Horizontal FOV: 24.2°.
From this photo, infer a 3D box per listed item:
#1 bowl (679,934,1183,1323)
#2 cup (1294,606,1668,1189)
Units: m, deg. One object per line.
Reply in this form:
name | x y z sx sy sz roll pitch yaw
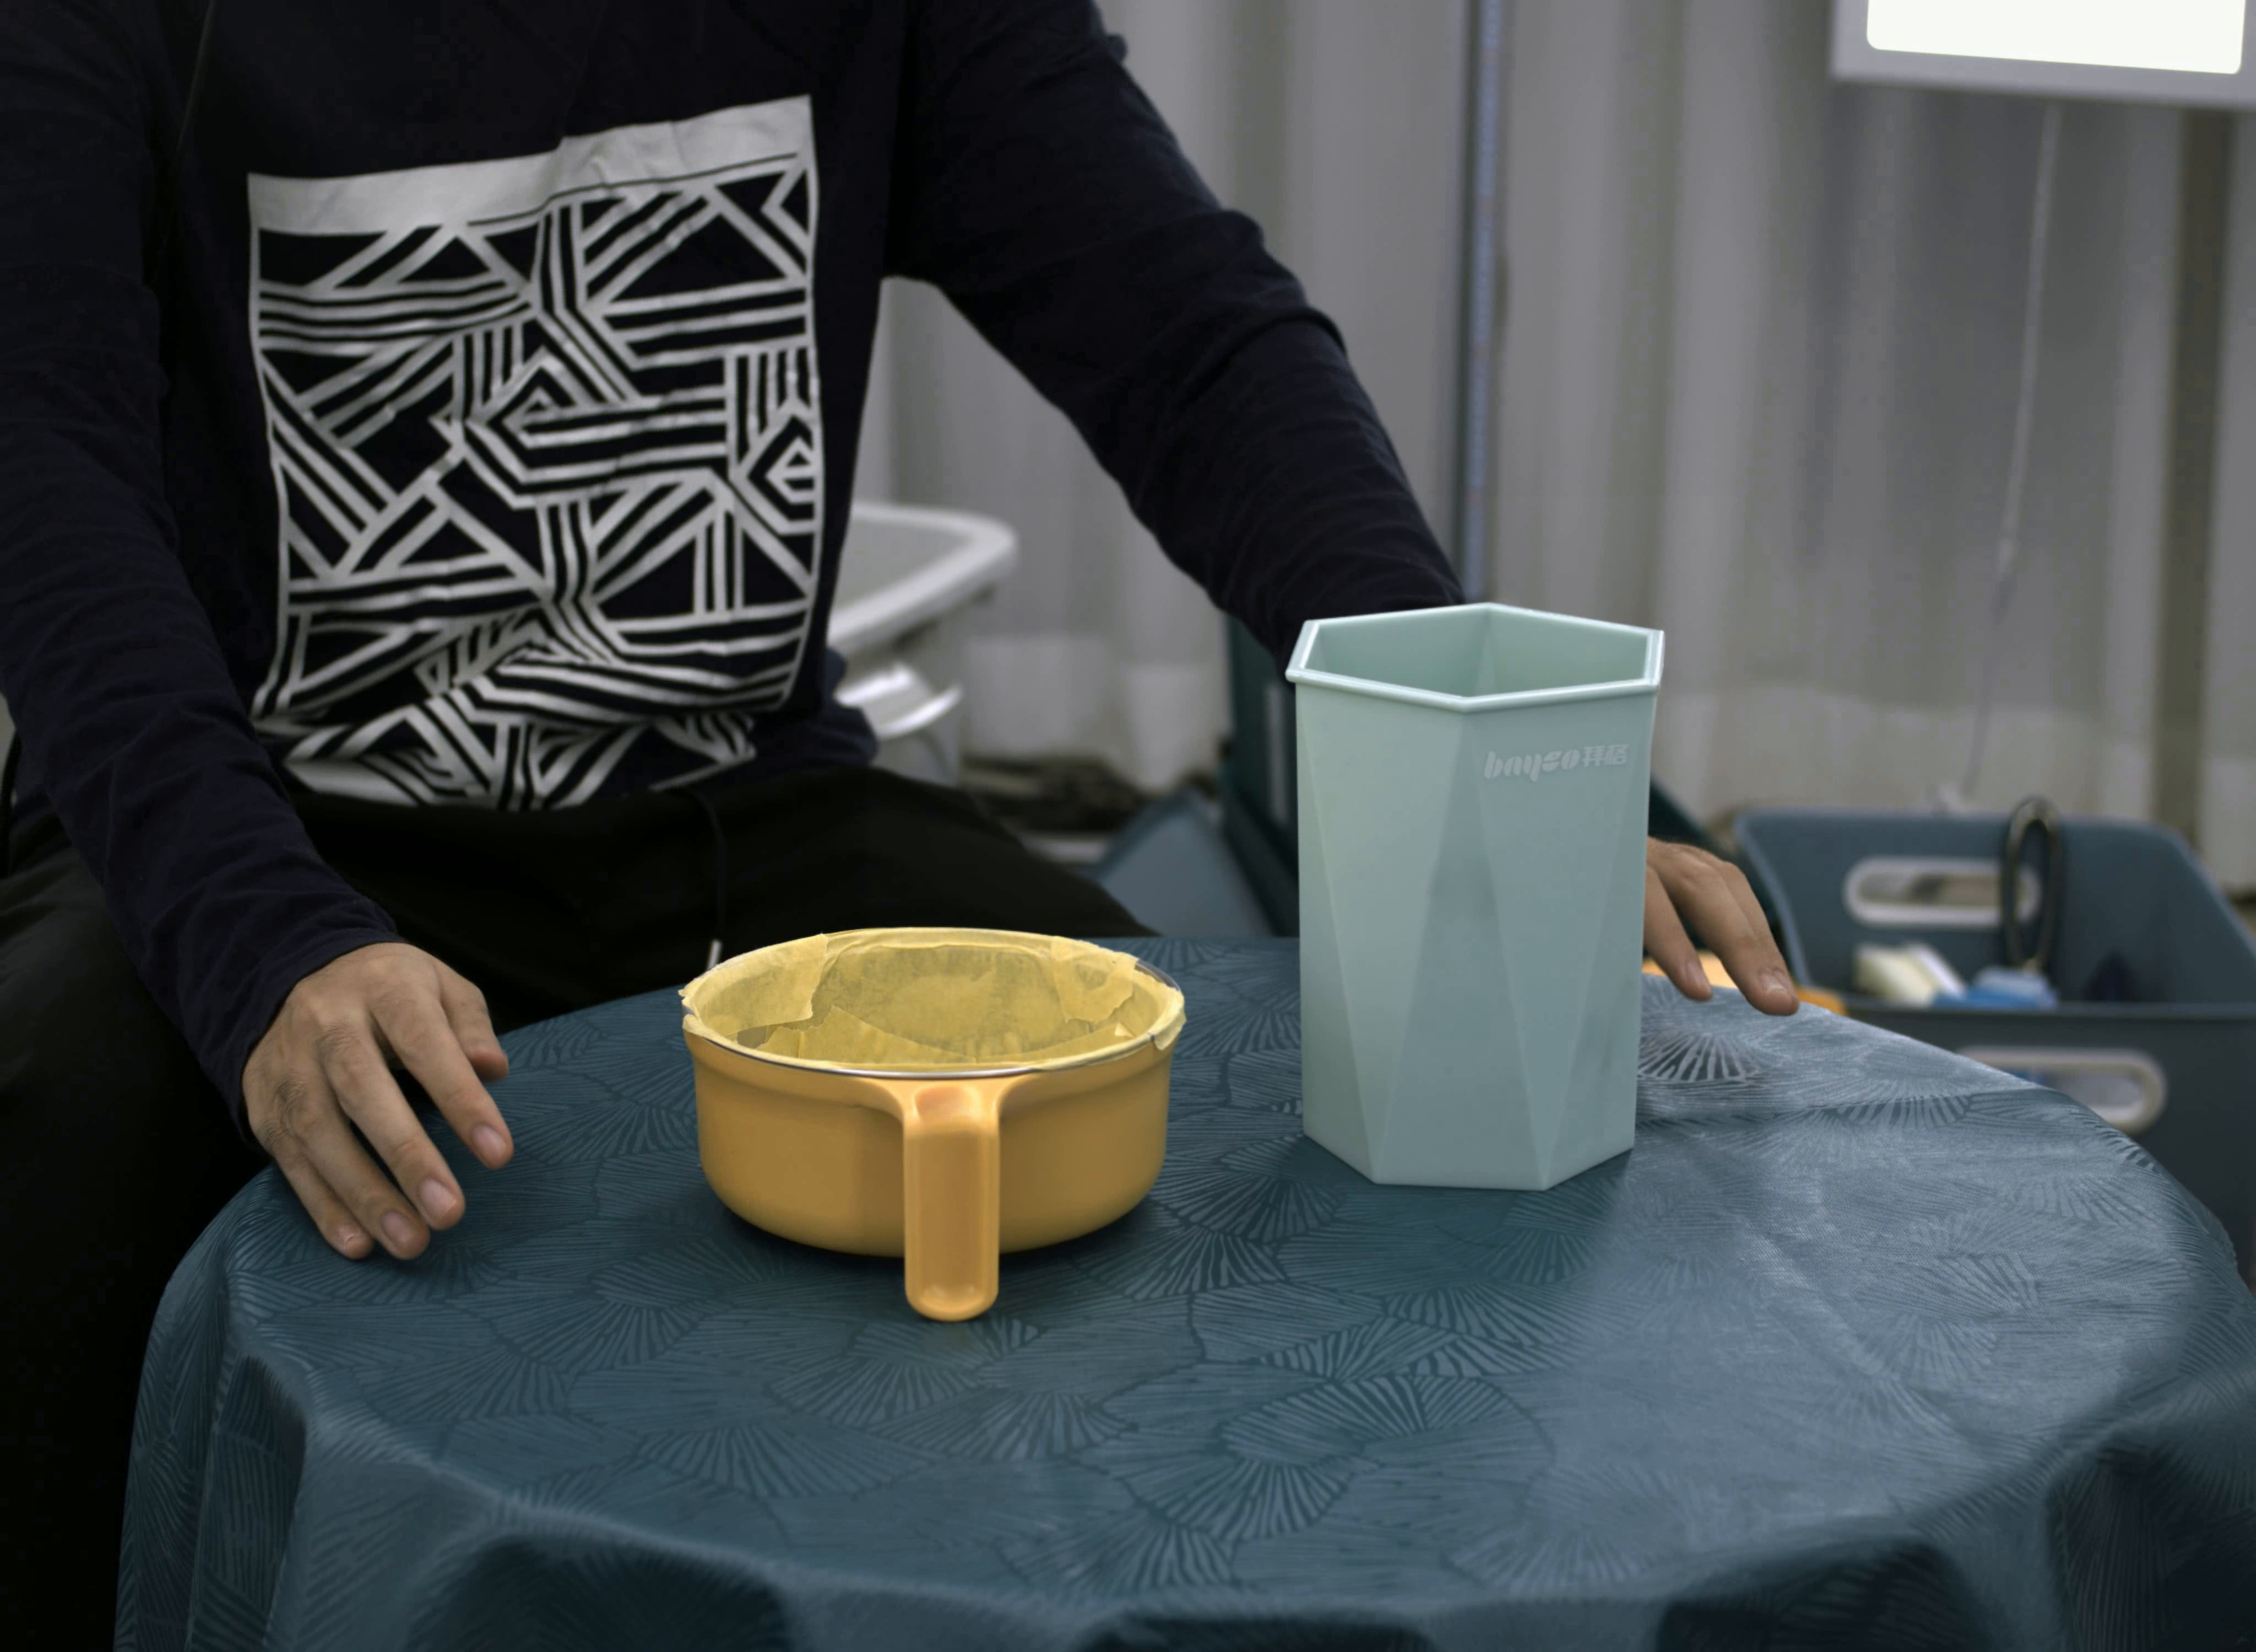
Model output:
bowl | -0.058 0.088 1.589 0.153 0.075 0.178 -2 13 -9
cup | 0.109 0.022 1.650 0.131 0.164 0.114 -6 15 -26
